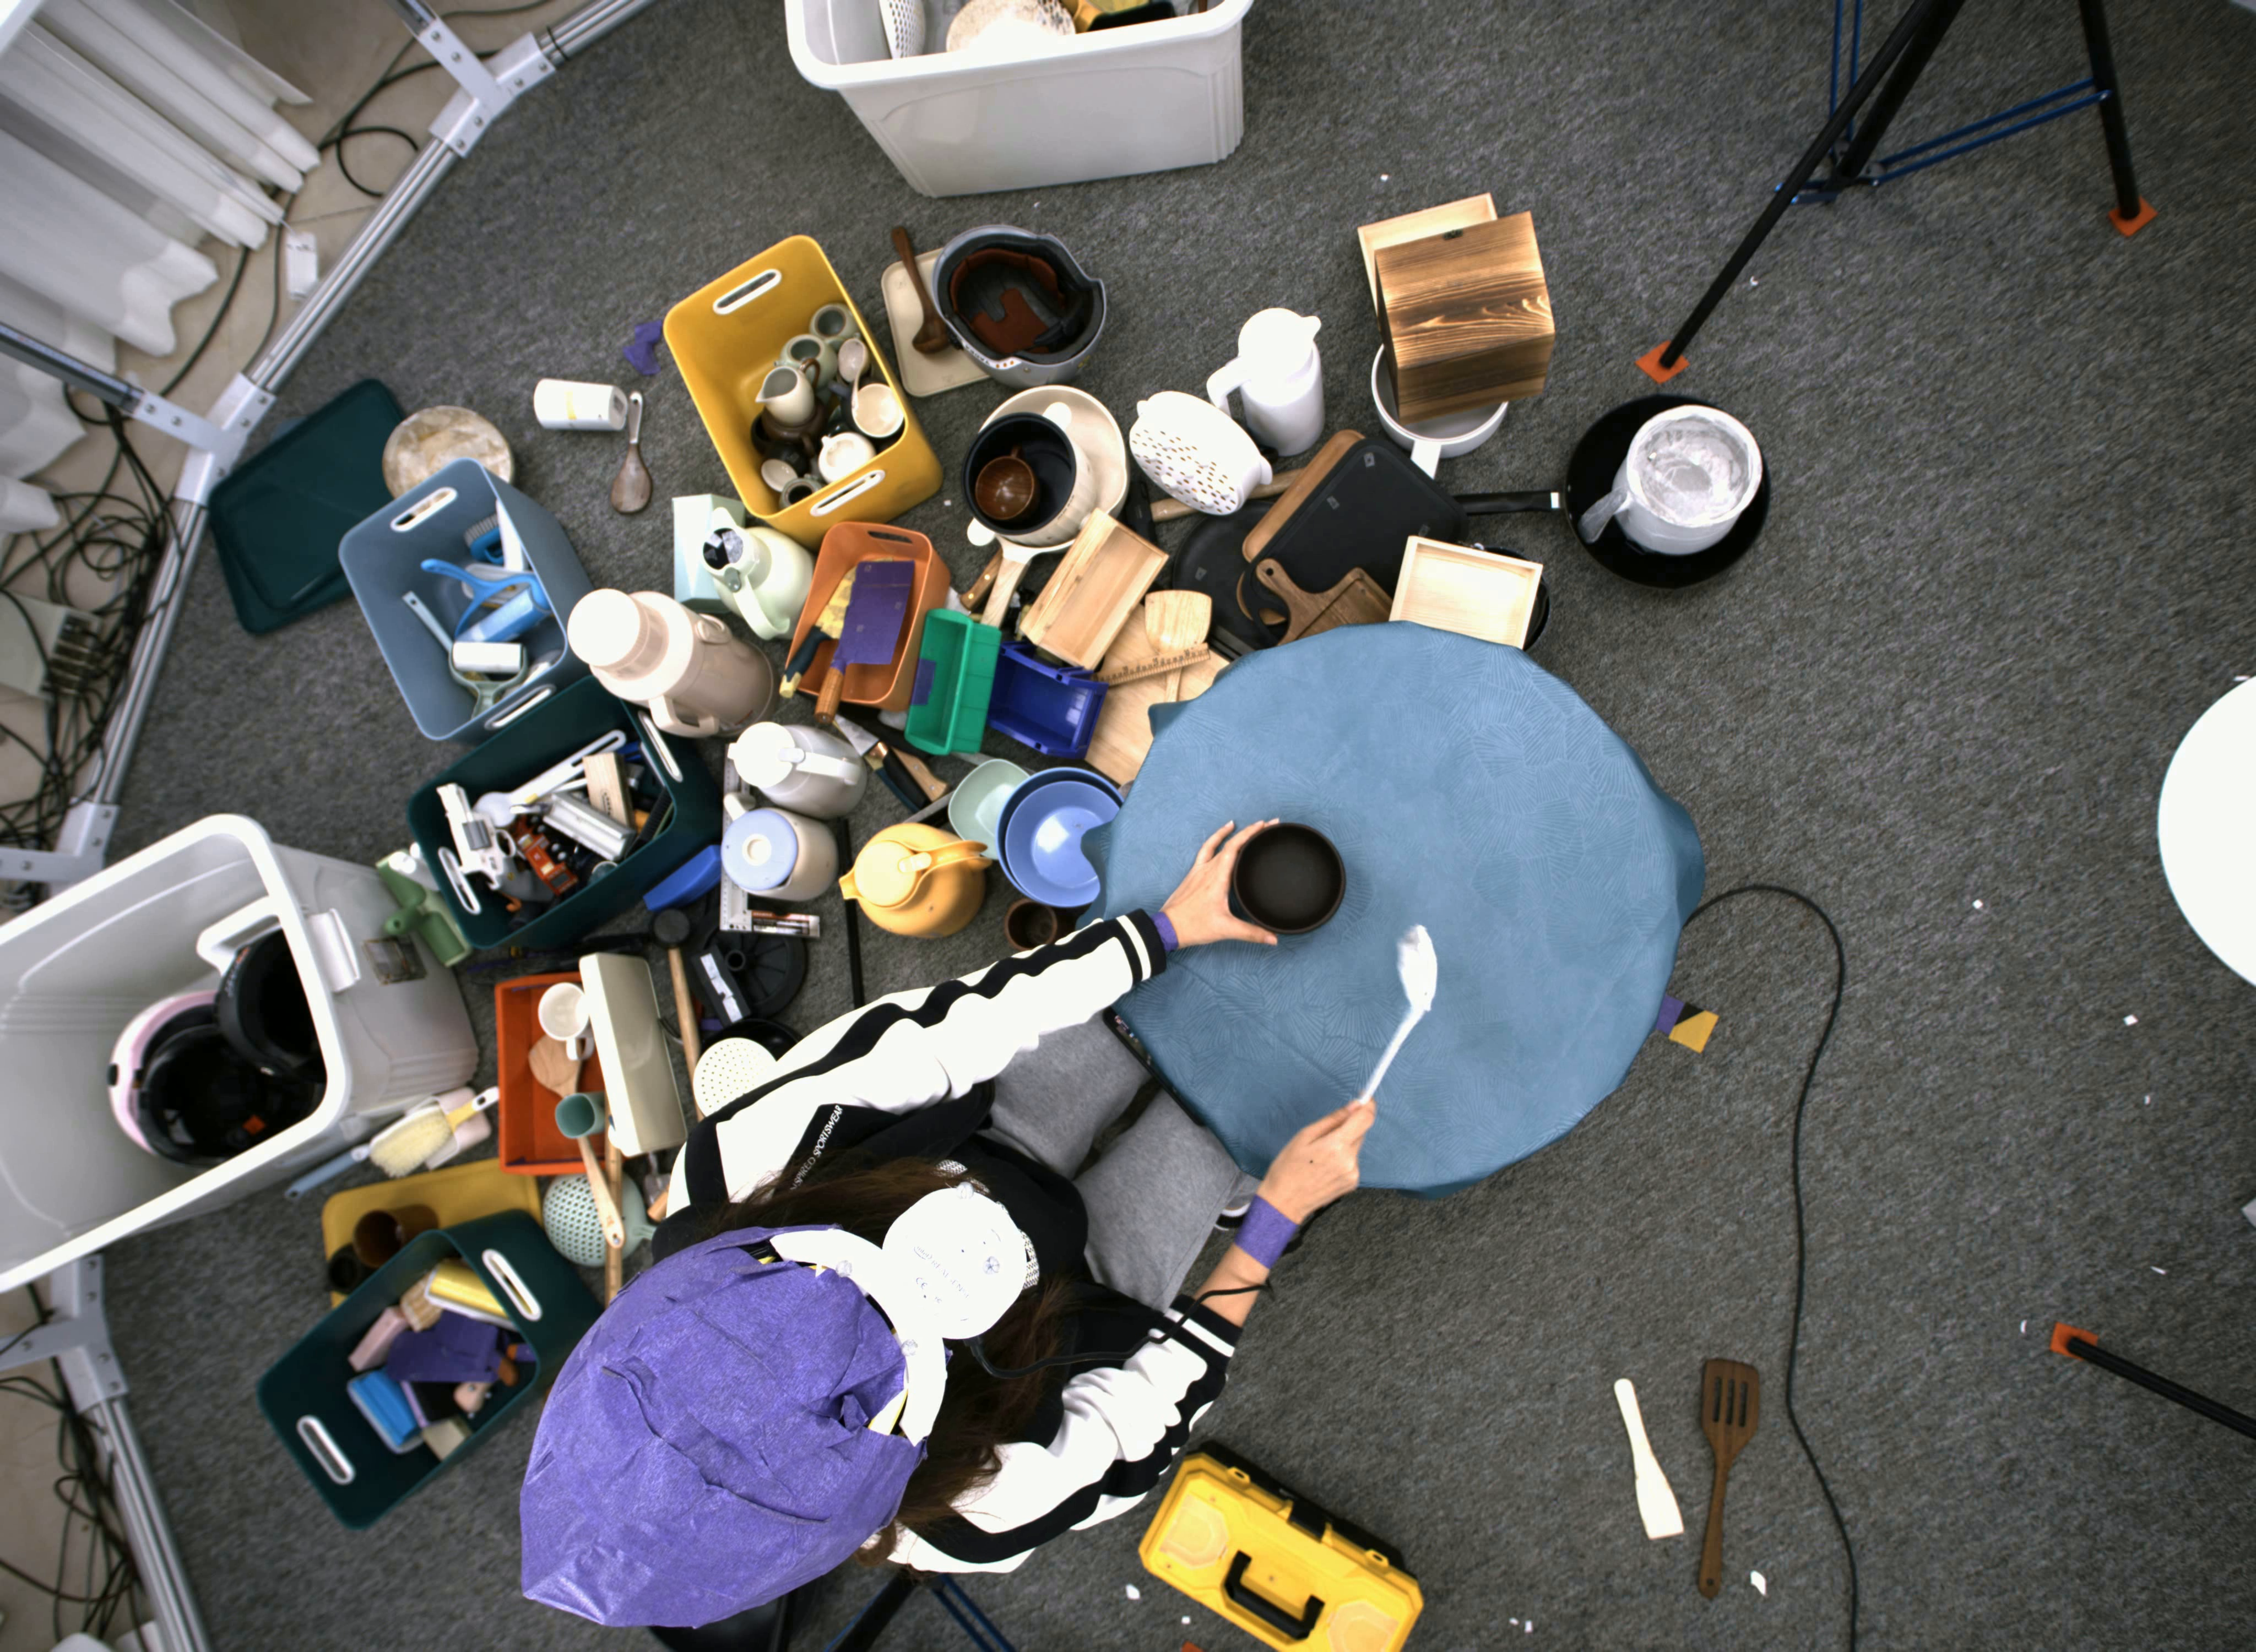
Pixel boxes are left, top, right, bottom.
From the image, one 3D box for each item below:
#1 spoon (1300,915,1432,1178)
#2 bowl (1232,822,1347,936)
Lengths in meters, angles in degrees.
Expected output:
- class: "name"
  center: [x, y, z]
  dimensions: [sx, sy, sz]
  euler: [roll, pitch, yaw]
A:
- class: "spoon"
  center: [0.218, 0.214, 1.339]
  dimensions: [0.059, 0.099, 0.280]
  euler: [27, 102, -12]
- class: "bowl"
  center: [0.169, 0.056, 1.443]
  dimensions: [0.118, 0.070, 0.117]
  euler: [-1, 86, 10]
